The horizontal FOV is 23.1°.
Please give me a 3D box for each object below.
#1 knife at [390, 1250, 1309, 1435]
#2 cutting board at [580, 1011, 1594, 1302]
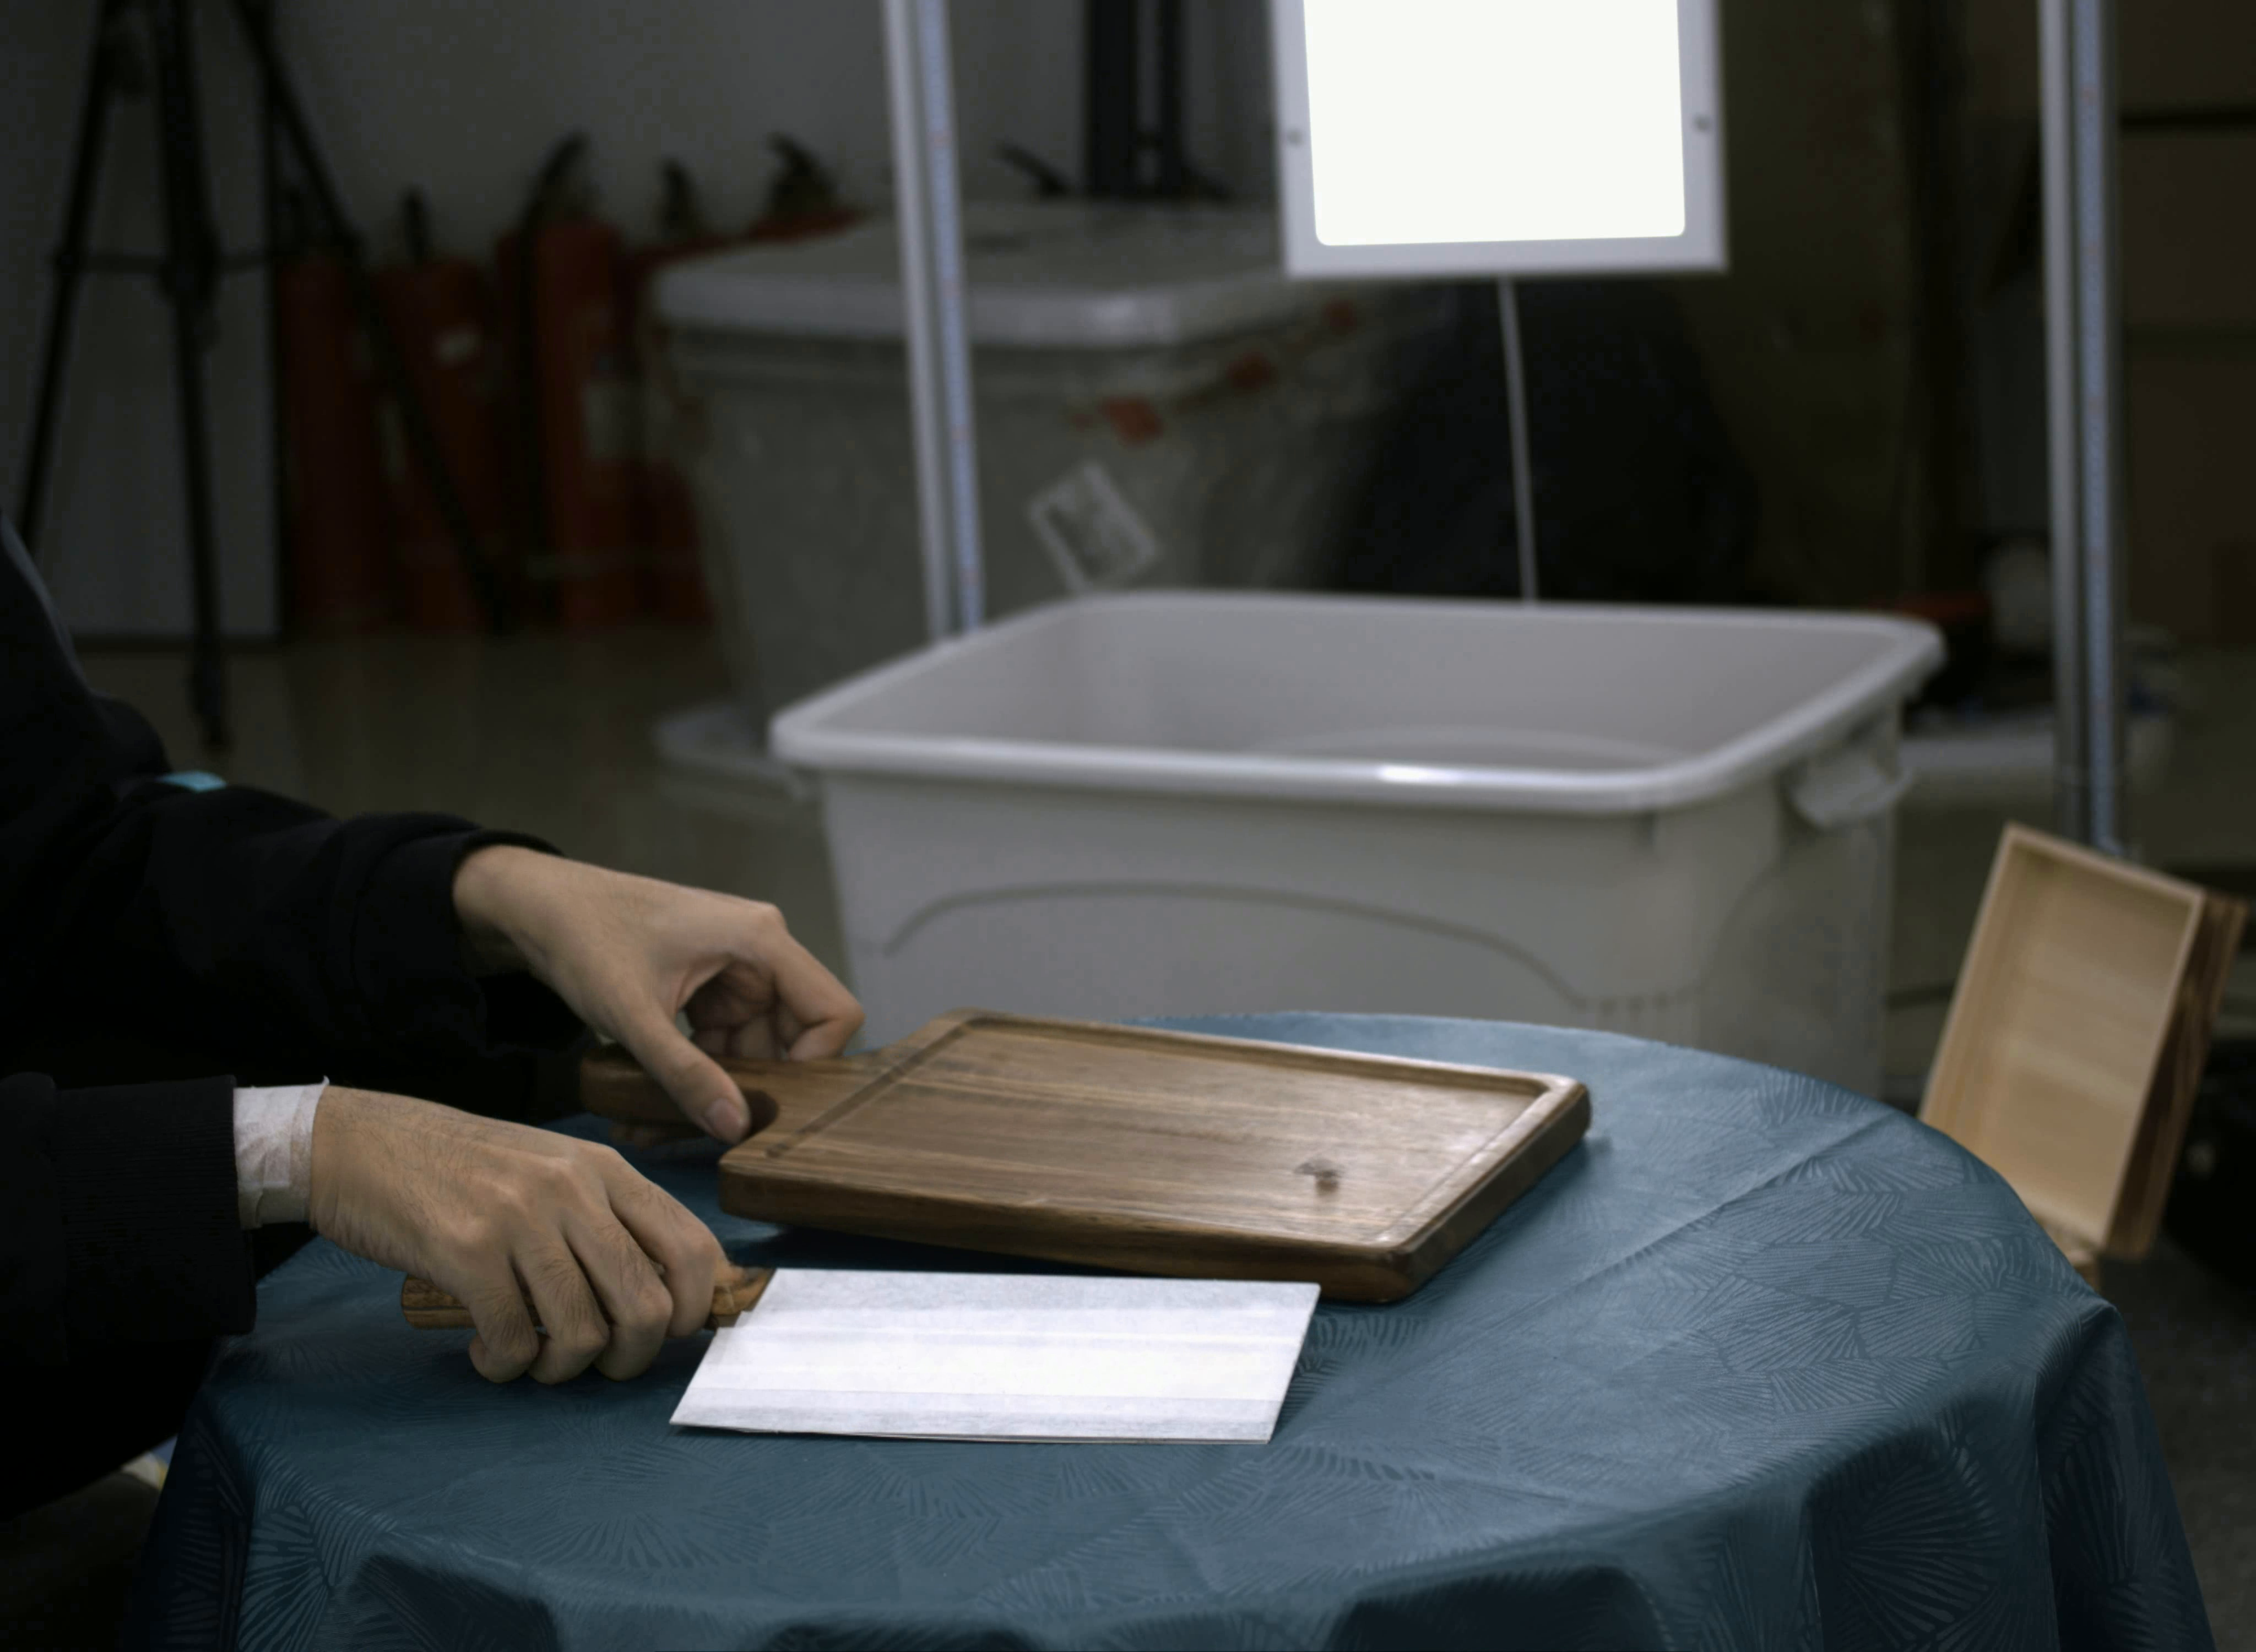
[{"bbox_3d":[-0.095,0.163,1.728,0.309,0.021,0.091,0,27,16],"label":"knife"},{"bbox_3d":[-0.031,0.106,1.907,0.357,0.023,0.197,5,17,24],"label":"cutting board"}]
